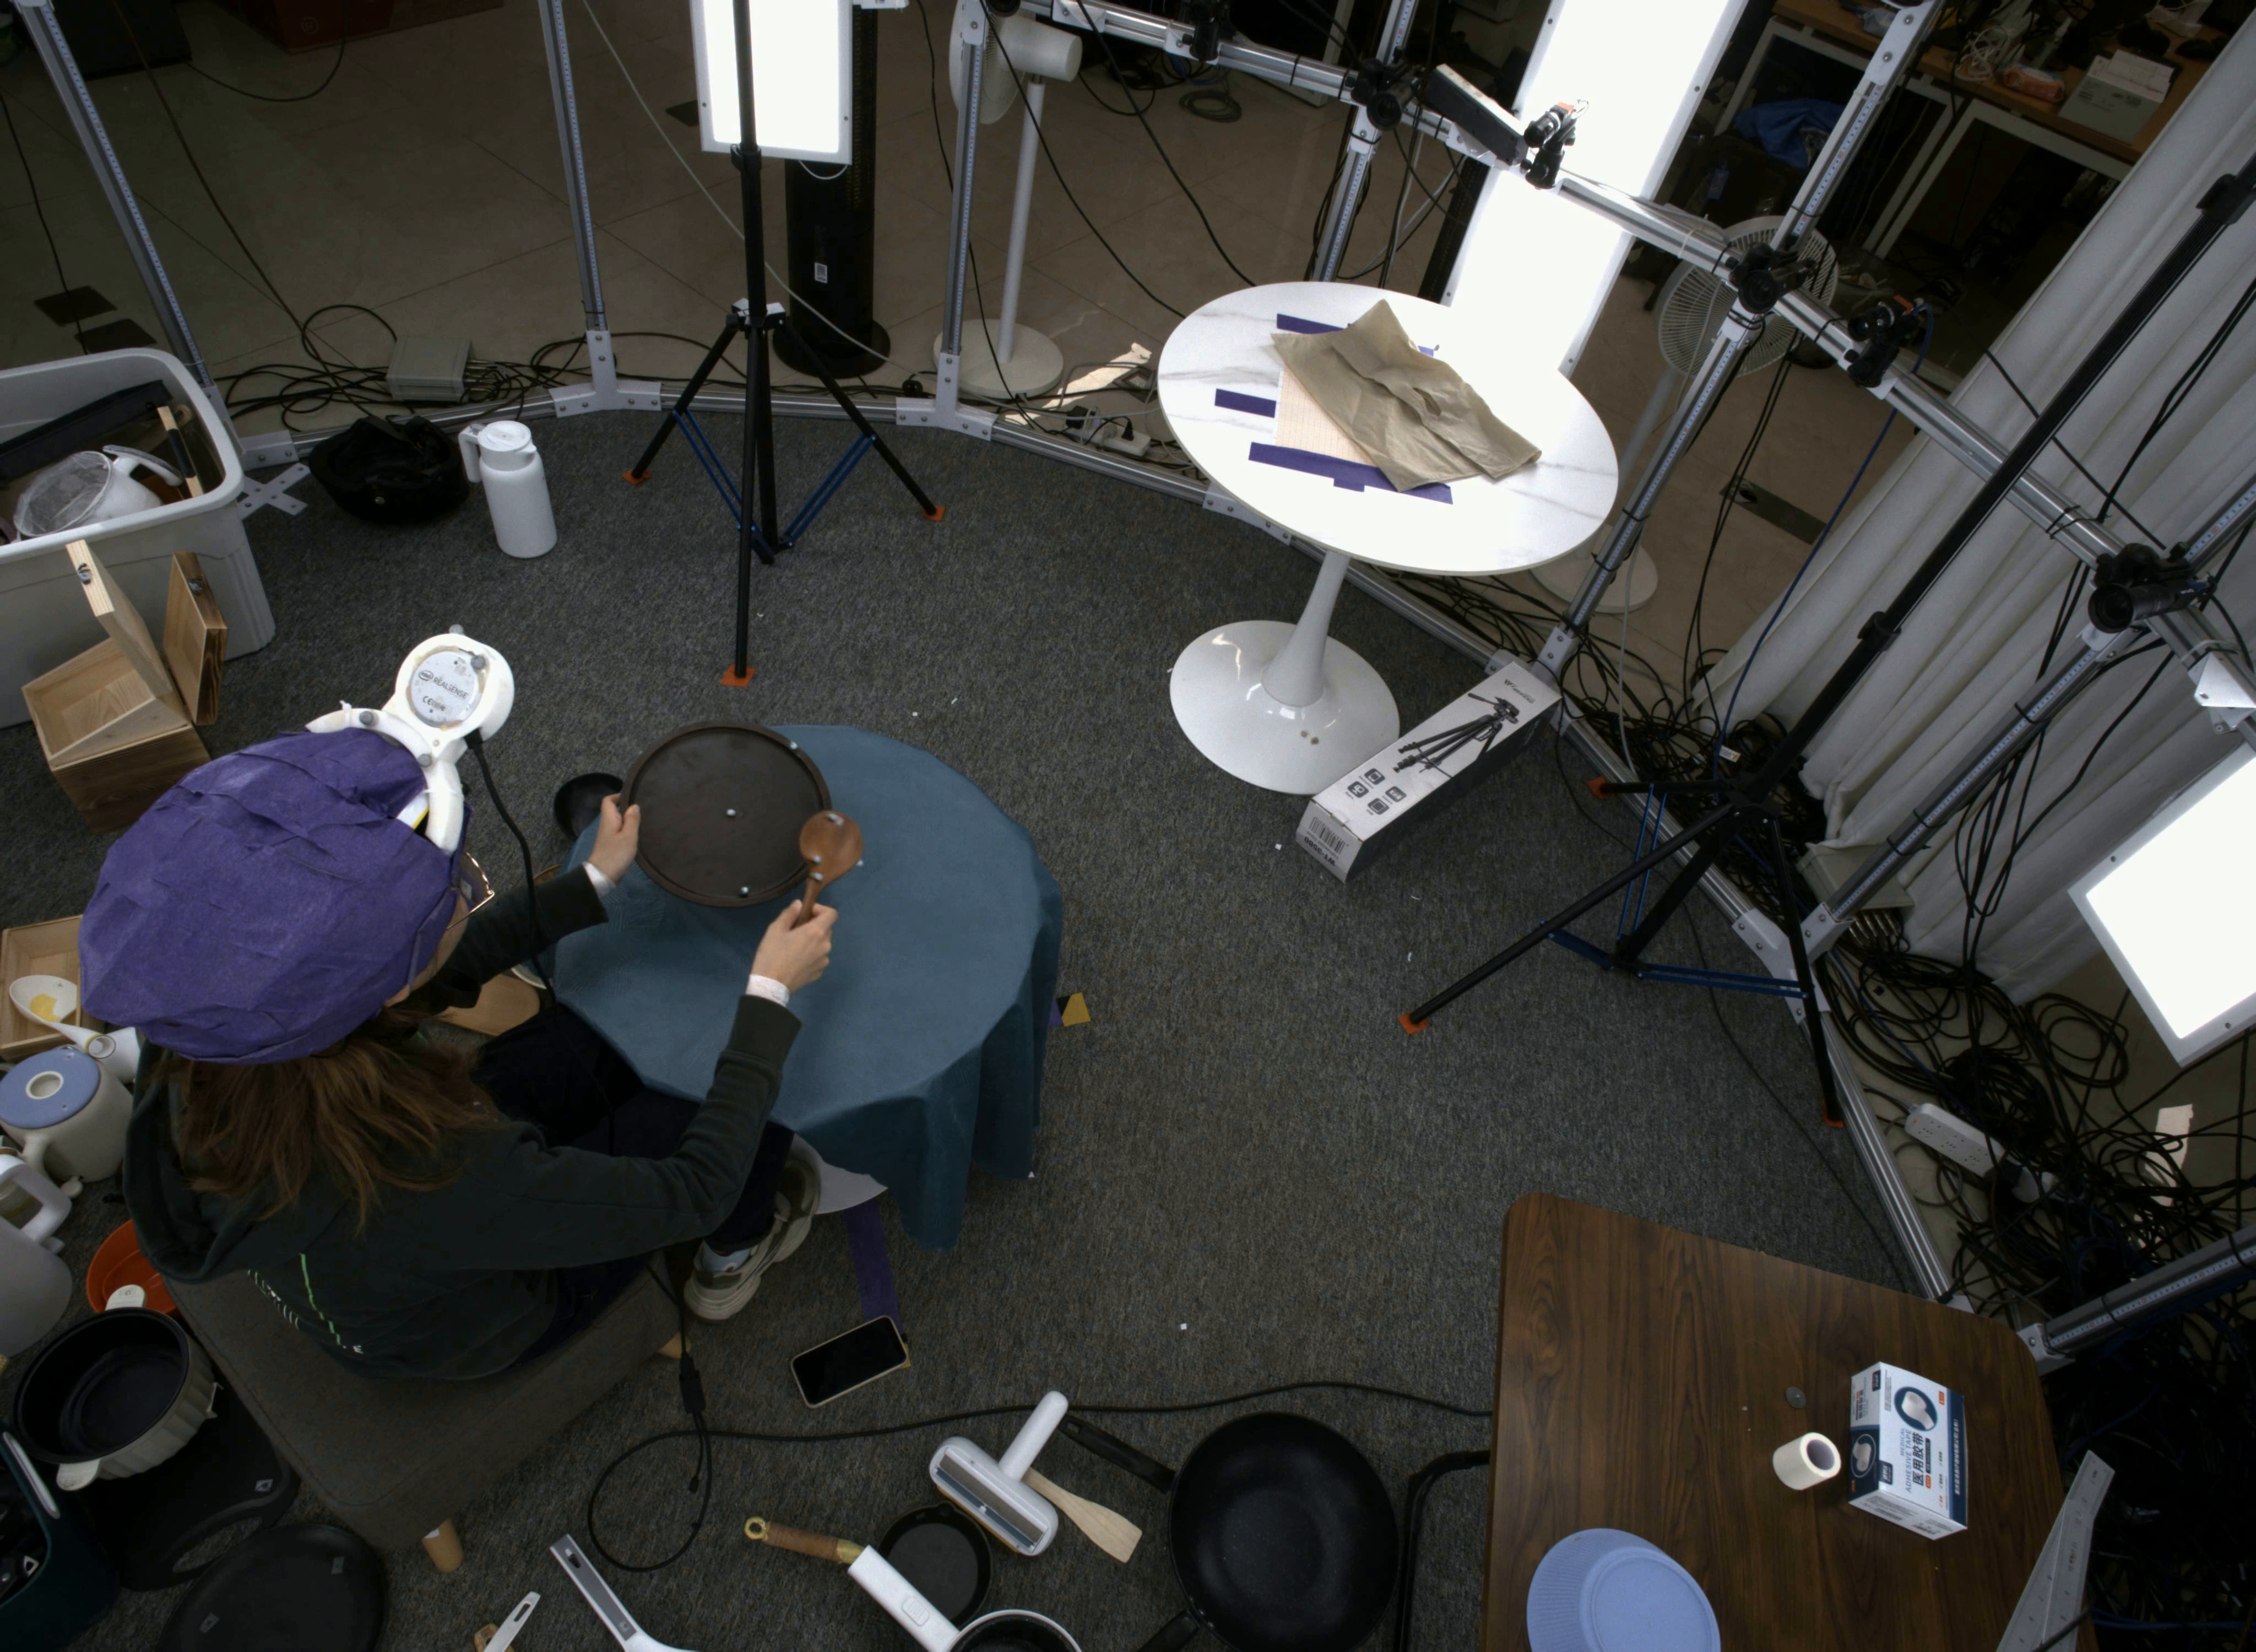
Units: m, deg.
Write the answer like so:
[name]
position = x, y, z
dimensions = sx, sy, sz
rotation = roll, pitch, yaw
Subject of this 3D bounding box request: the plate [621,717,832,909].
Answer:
[plate]
position = -0.488, -0.018, 1.573
dimensions = 0.257, 0.029, 0.252
rotation = 10, 63, -18

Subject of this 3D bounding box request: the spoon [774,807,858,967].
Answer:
[spoon]
position = -0.362, 0.066, 1.477
dimensions = 0.076, 0.017, 0.213
rotation = 26, 50, -19
